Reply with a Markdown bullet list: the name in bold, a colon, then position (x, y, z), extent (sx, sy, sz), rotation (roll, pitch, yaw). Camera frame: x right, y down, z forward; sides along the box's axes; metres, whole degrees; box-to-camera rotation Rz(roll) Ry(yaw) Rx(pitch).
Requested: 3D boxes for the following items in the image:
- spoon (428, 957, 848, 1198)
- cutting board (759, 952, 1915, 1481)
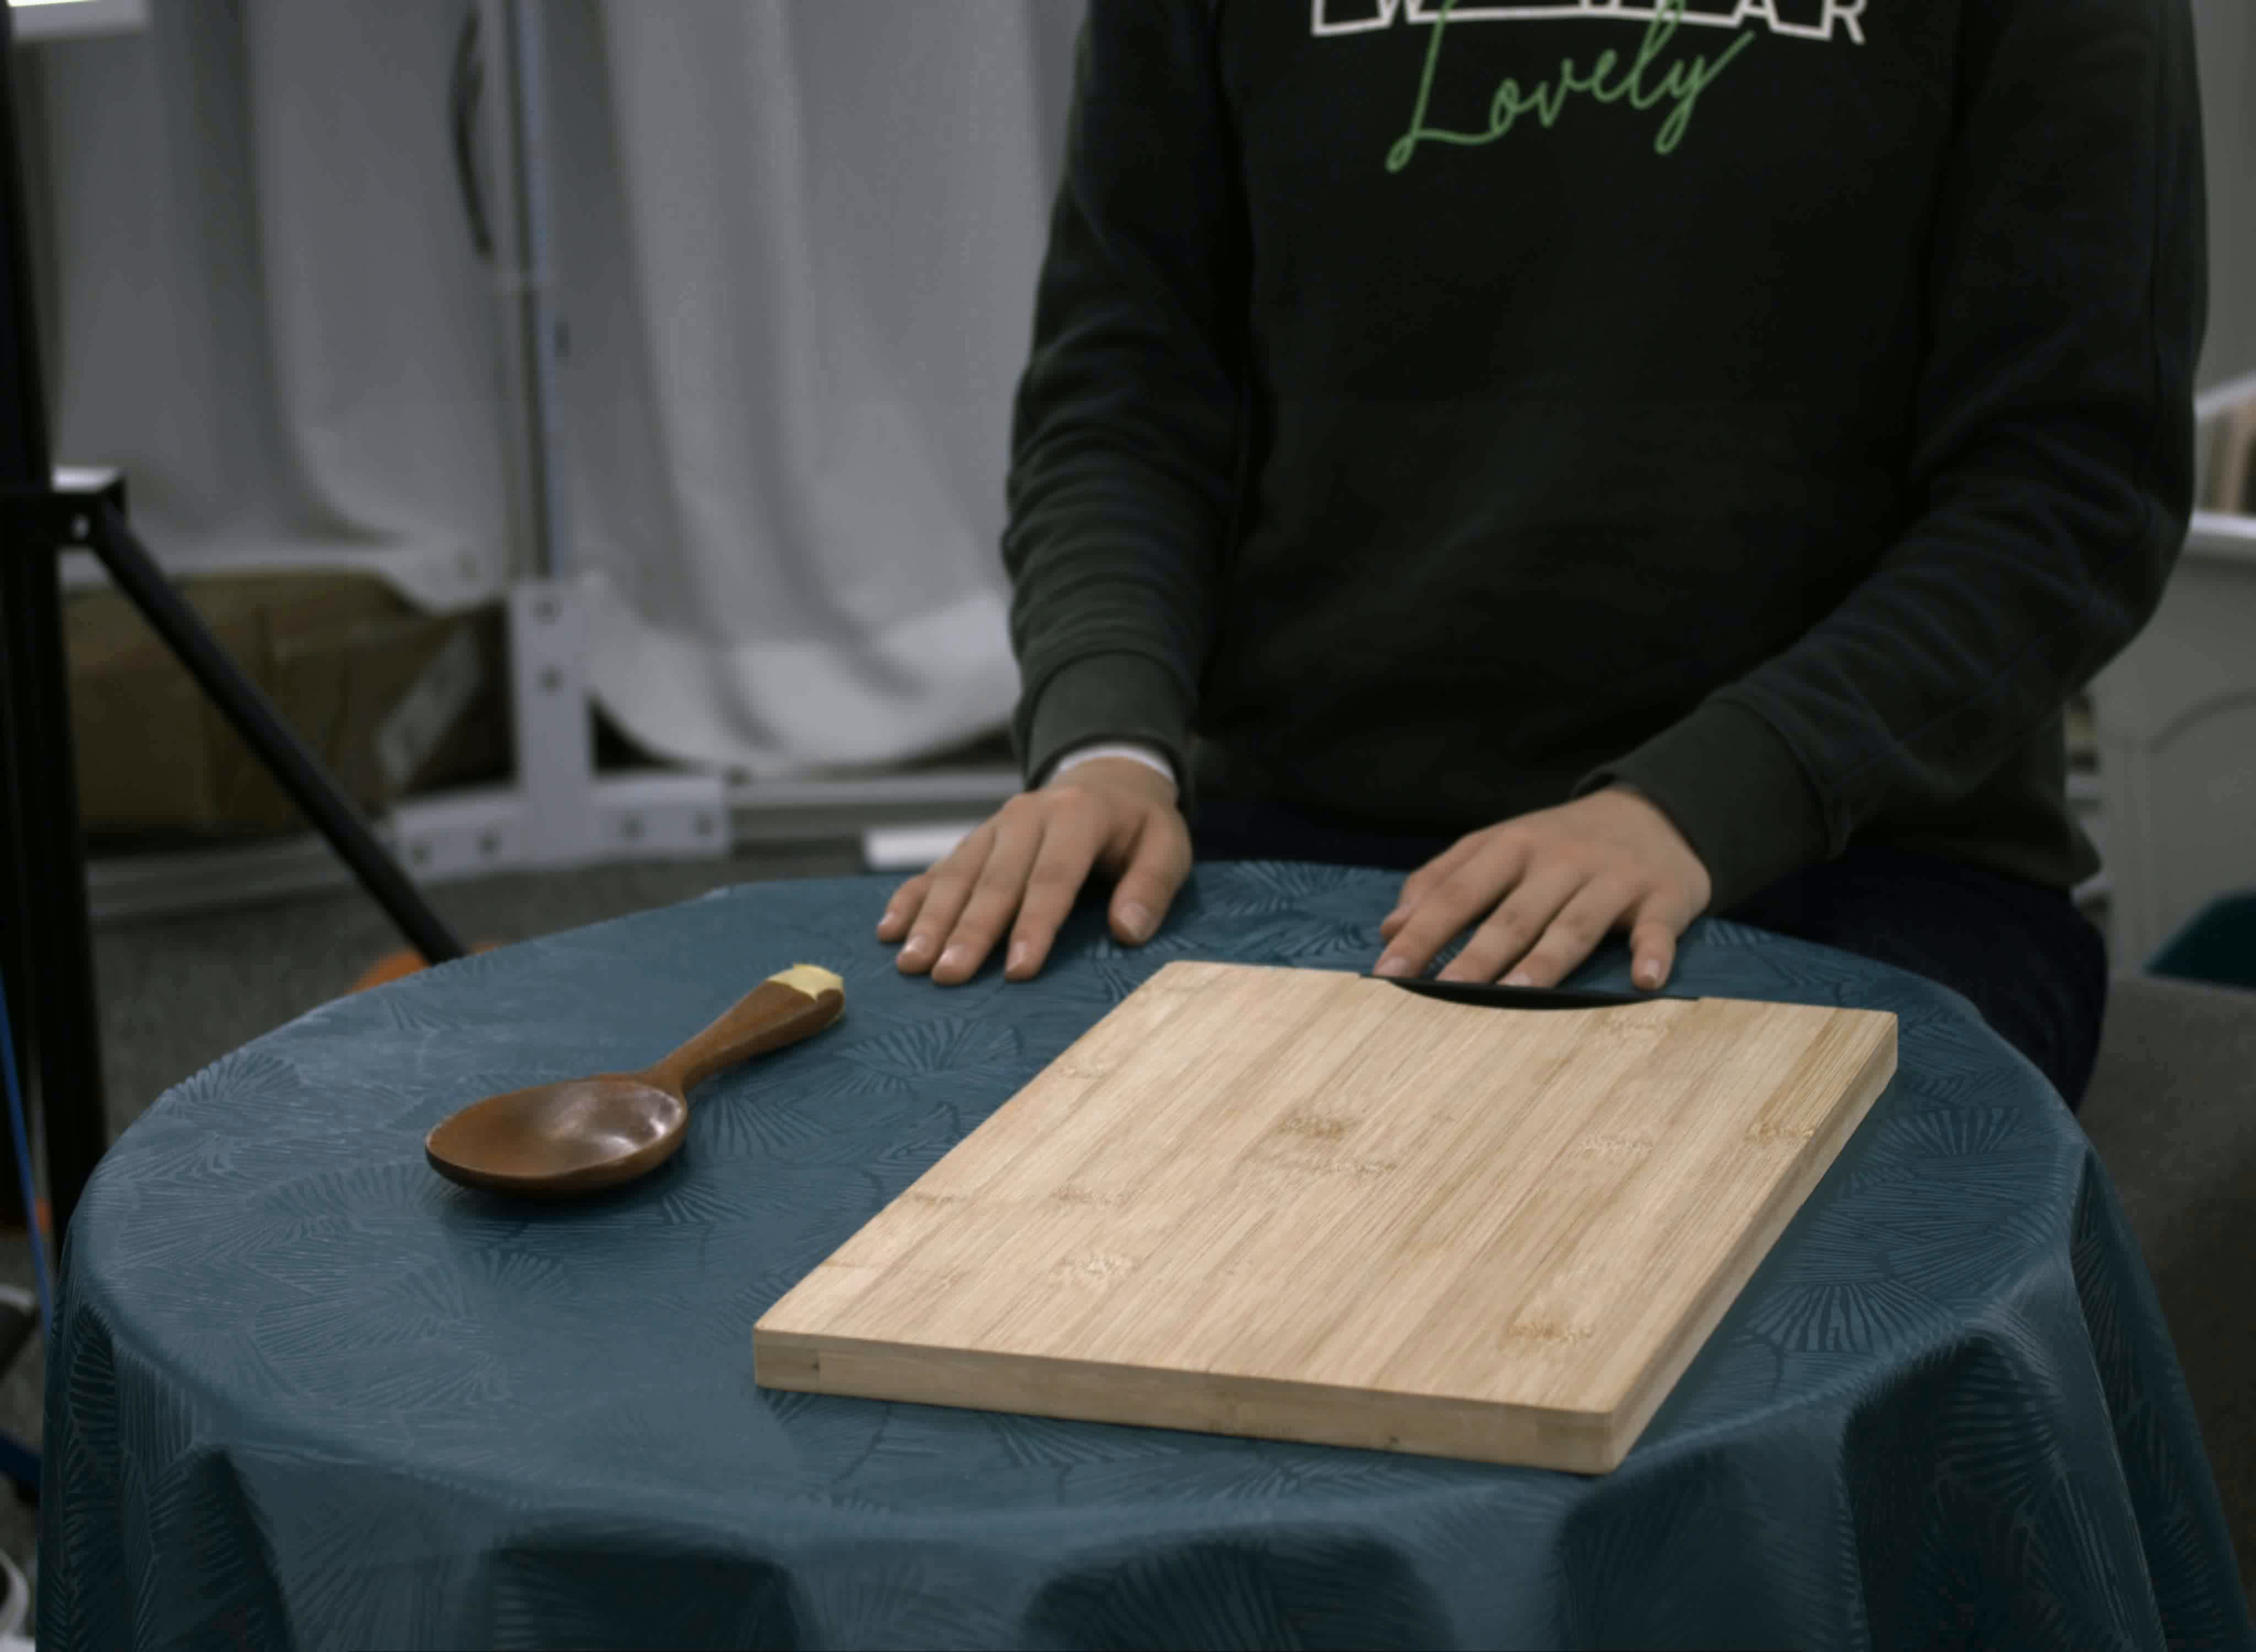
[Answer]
- **spoon**: position (-0.142, 0.079, 1.651), extent (0.076, 0.017, 0.212), rotation (3, 17, 25)
- **cutting board**: position (0.072, 0.104, 1.532), extent (0.253, 0.023, 0.344), rotation (4, 17, 20)
